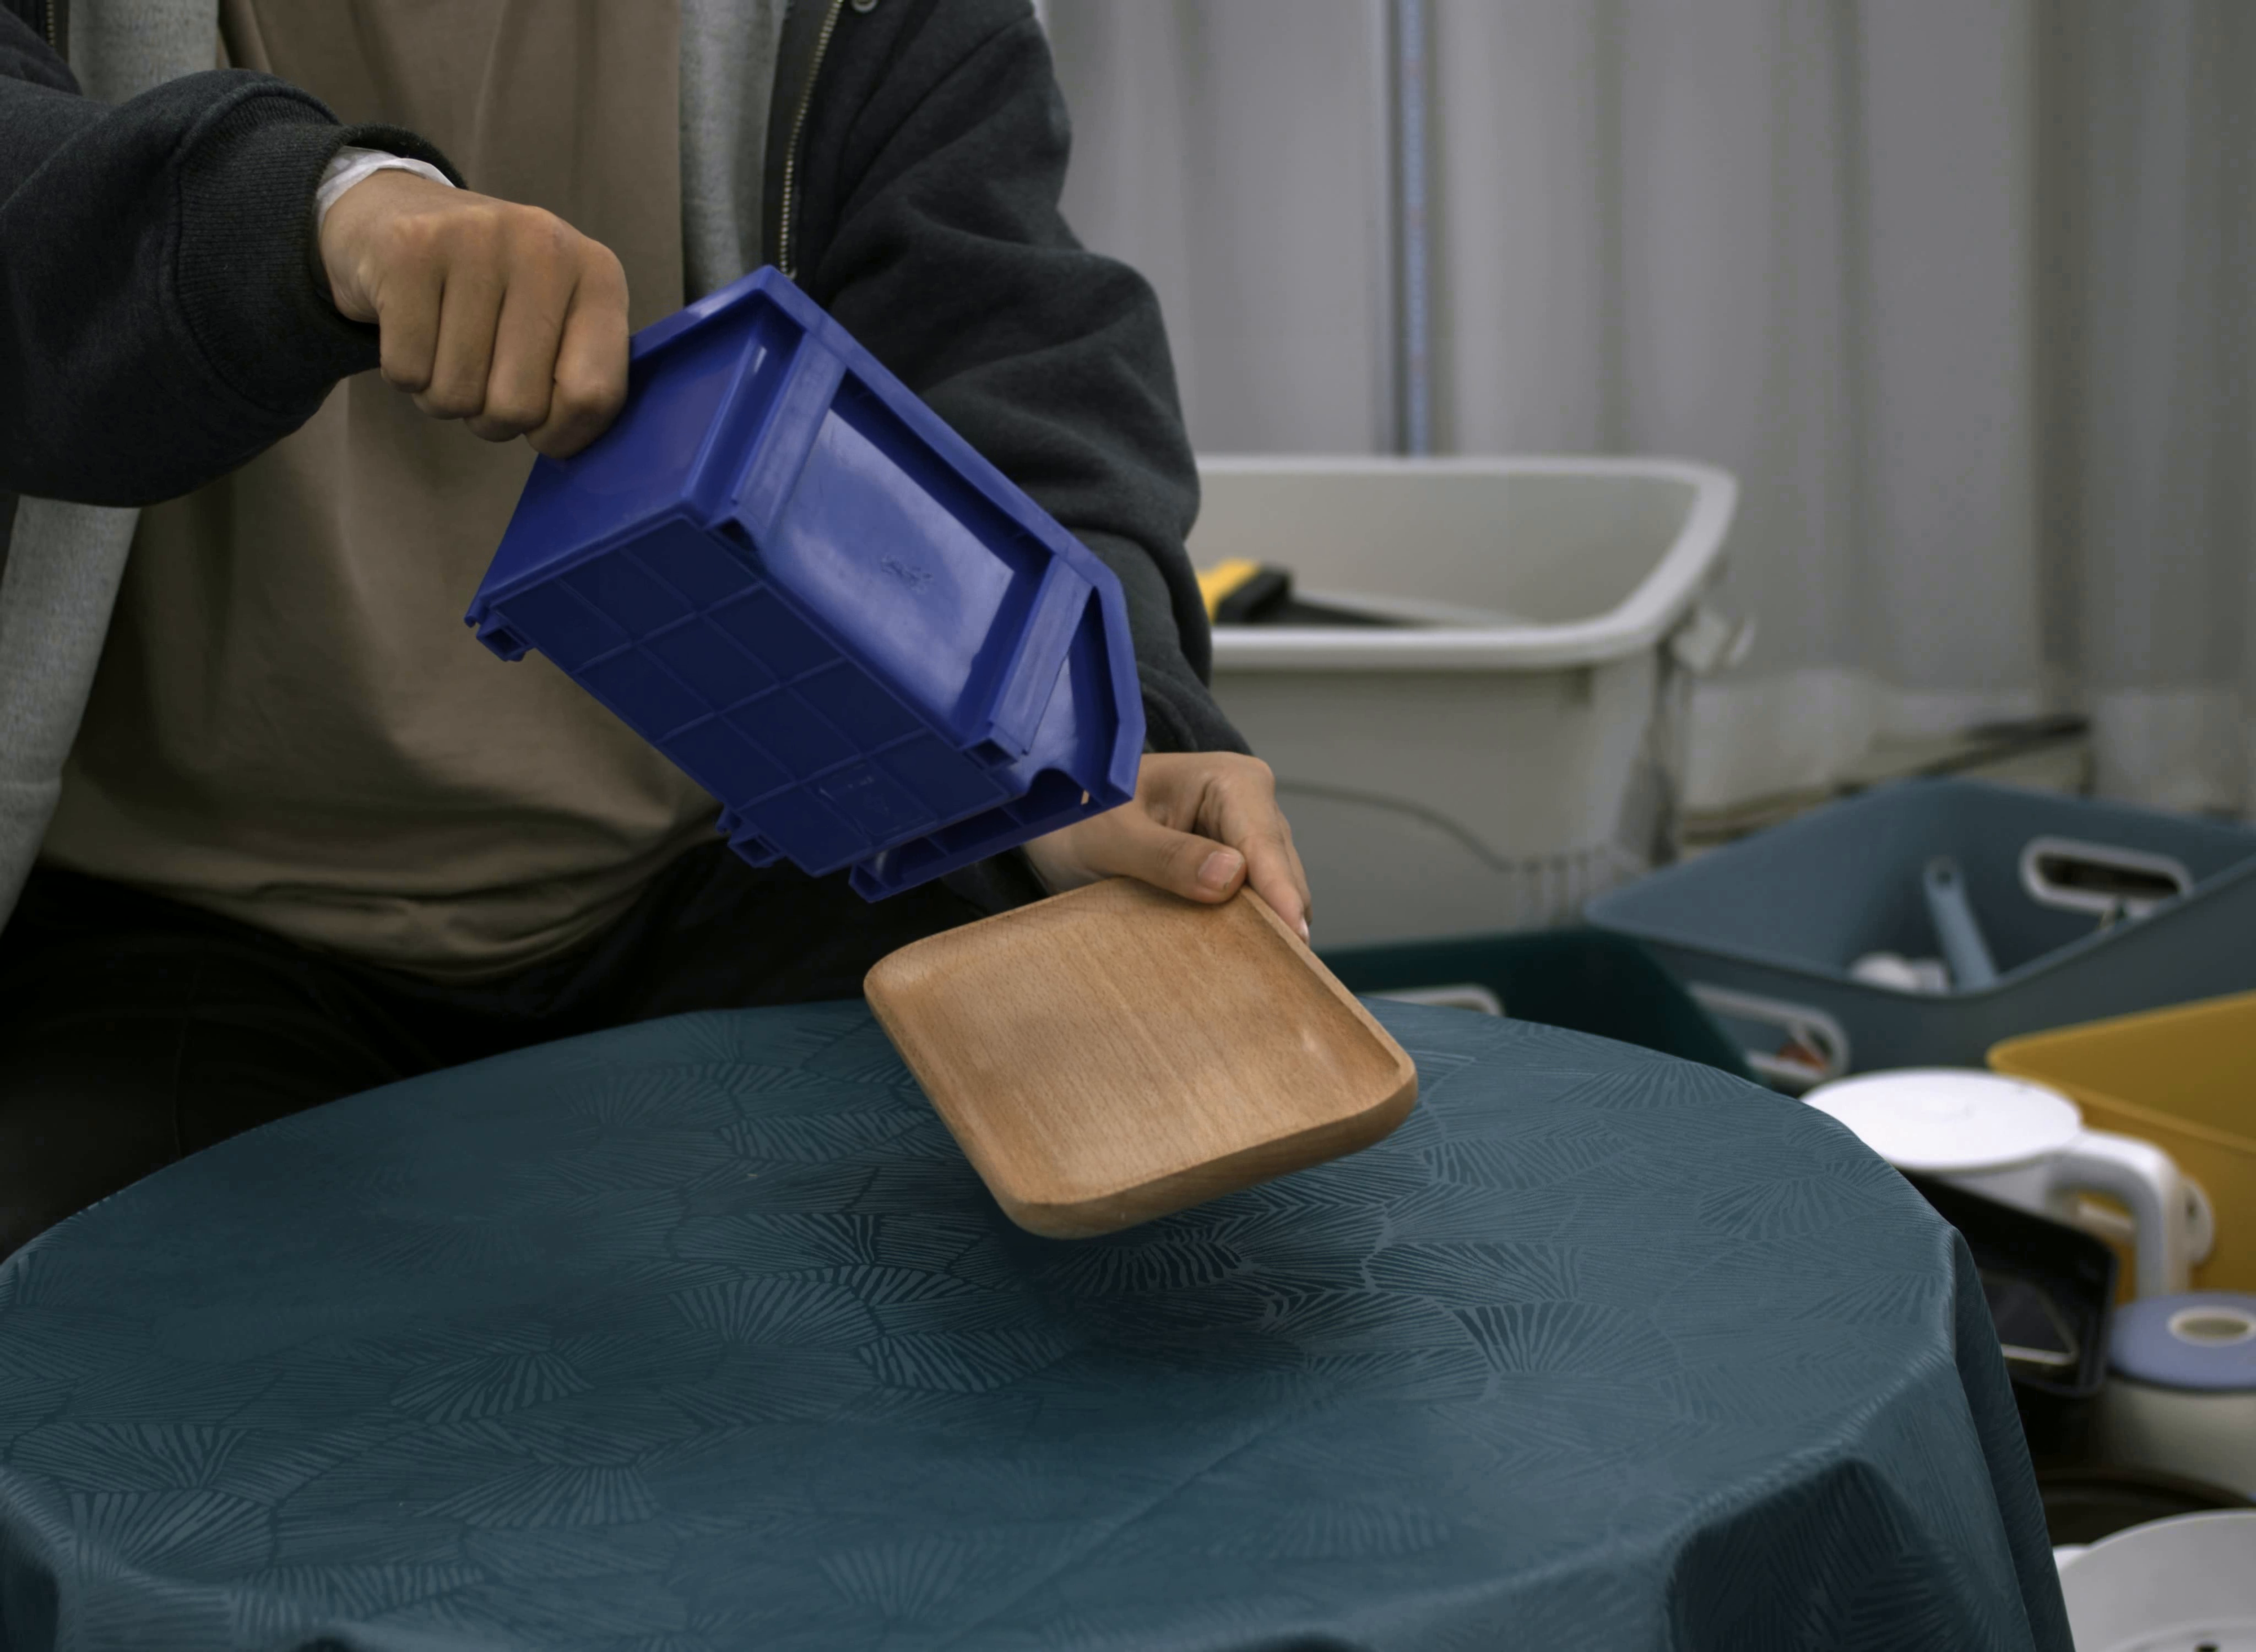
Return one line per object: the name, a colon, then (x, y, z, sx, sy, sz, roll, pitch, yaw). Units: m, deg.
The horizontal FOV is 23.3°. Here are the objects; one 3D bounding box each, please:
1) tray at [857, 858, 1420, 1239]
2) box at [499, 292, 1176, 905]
tray: (0.000, 0.064, 1.653, 0.130, 0.023, 0.253, -15, 18, -10)
box: (-0.086, -0.056, 1.619, 0.124, 0.177, 0.083, -24, 38, 45)
